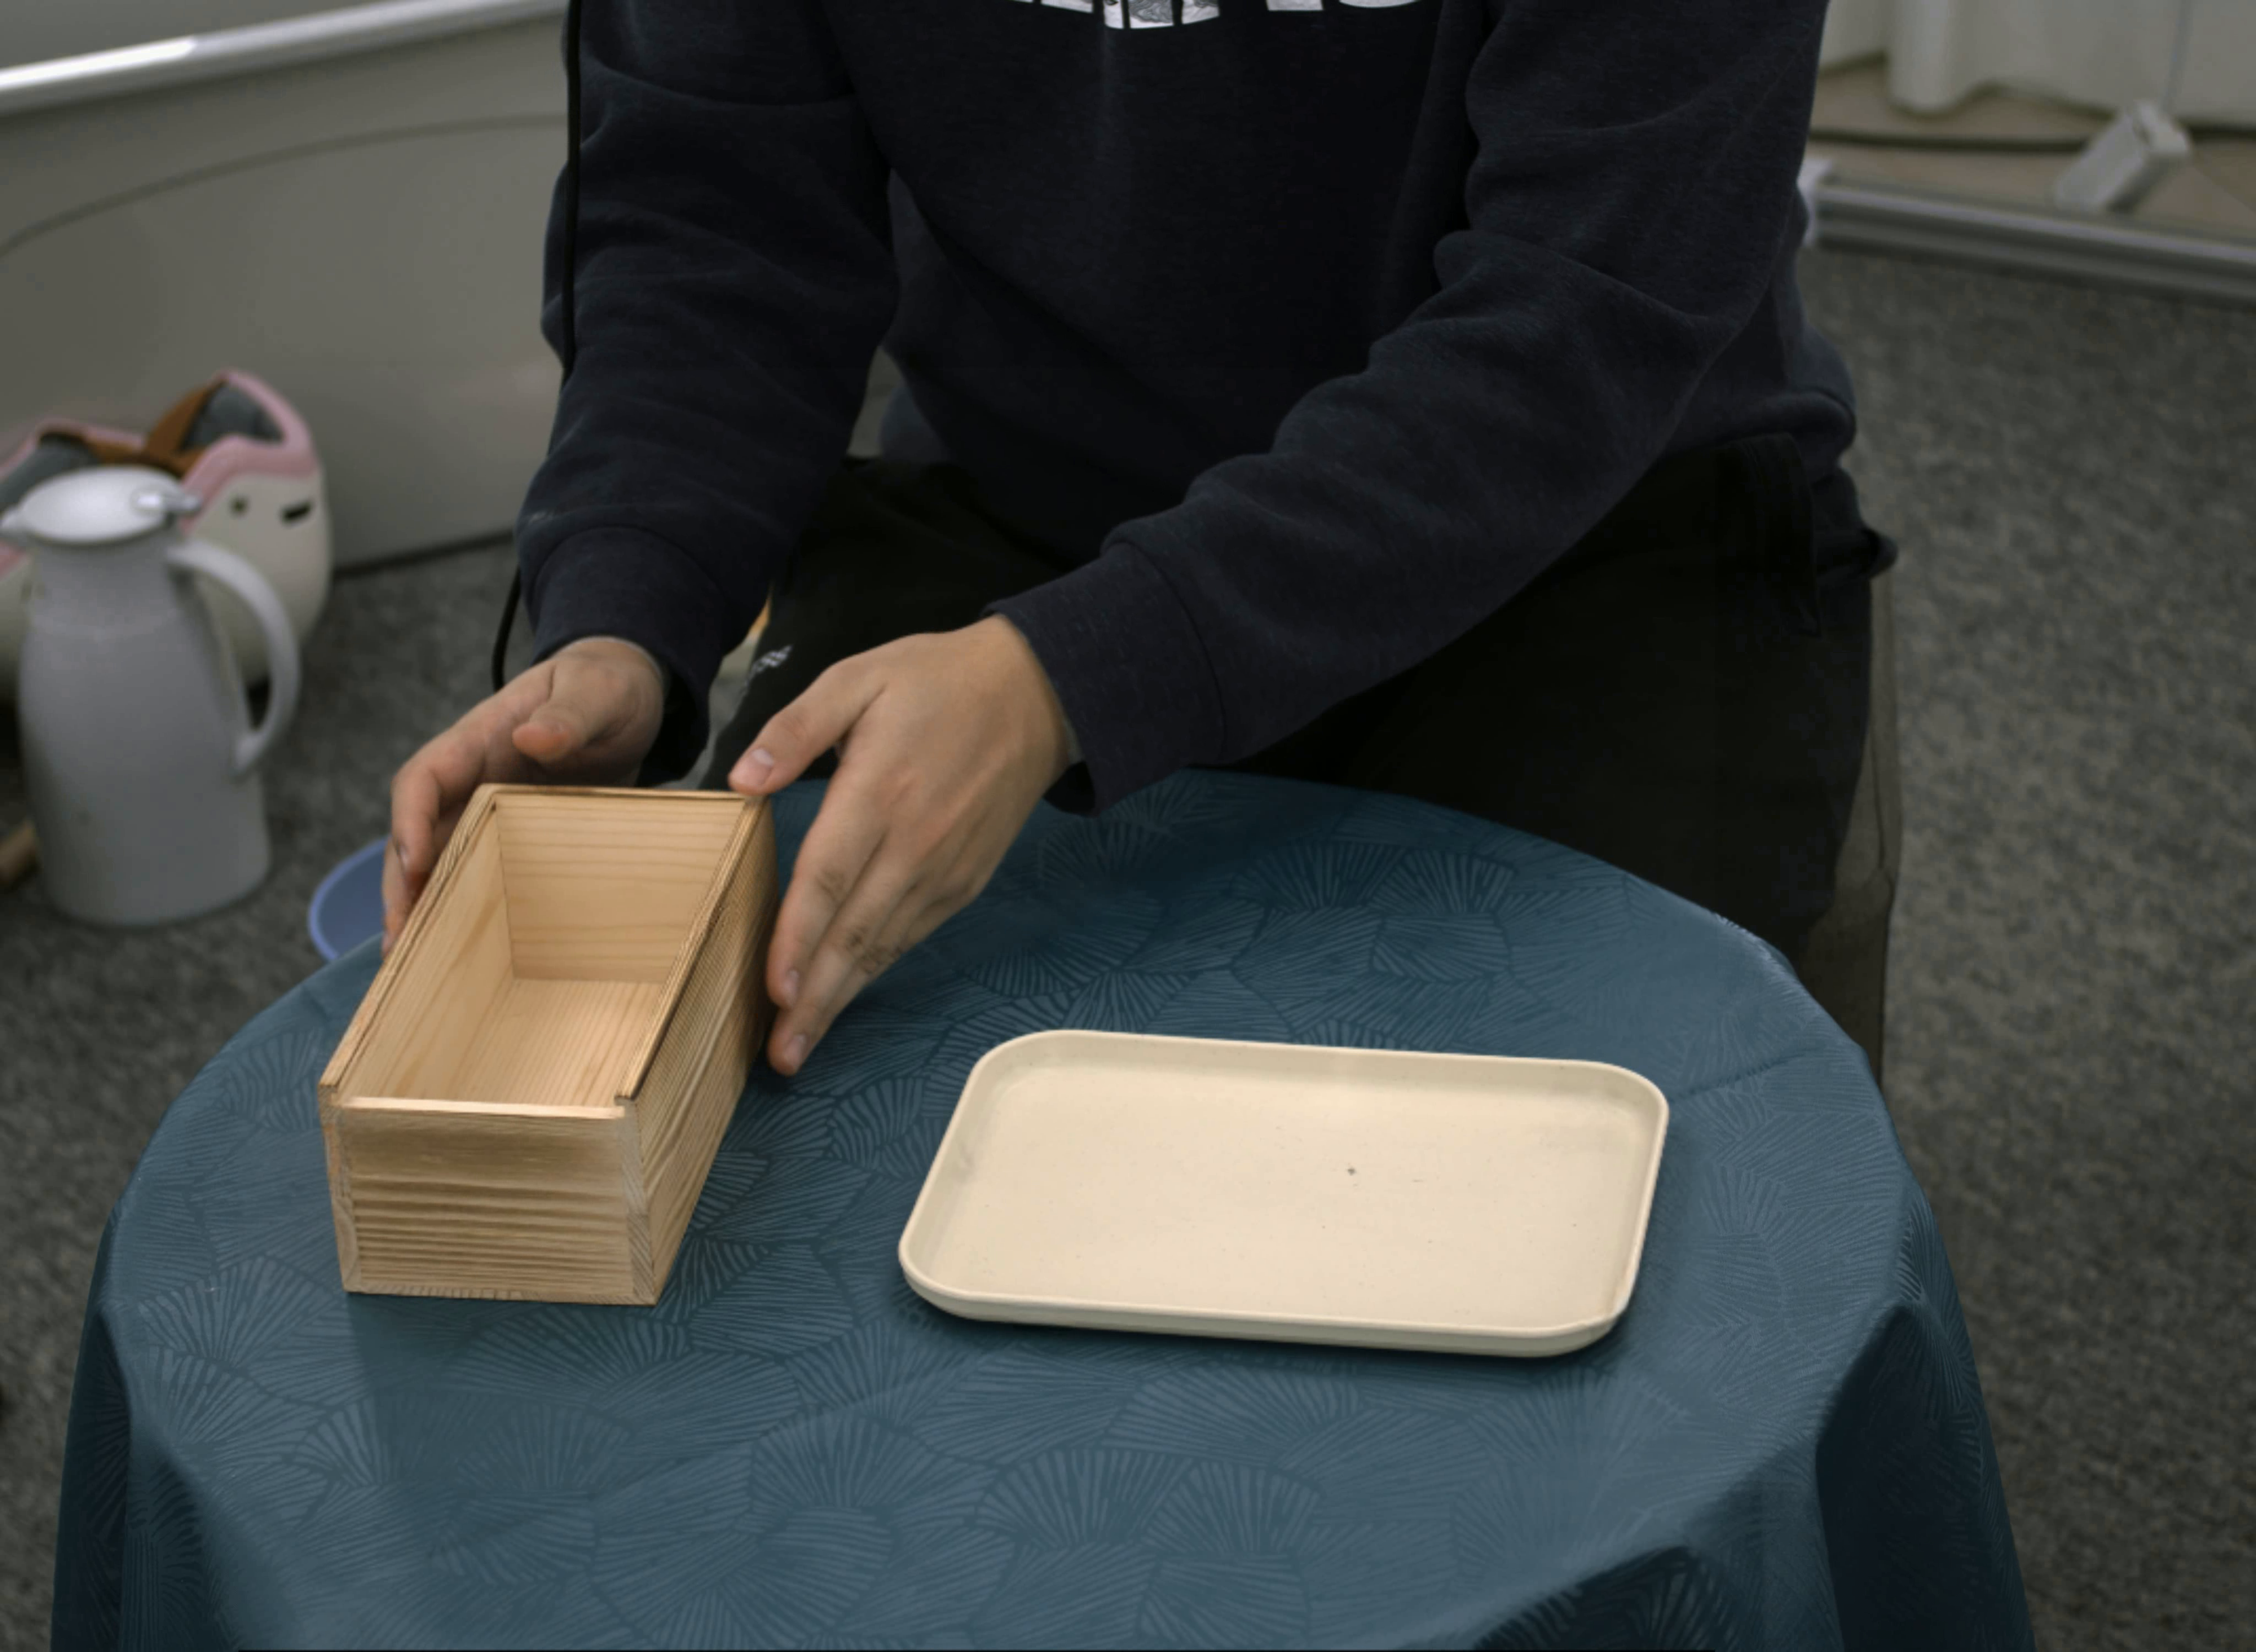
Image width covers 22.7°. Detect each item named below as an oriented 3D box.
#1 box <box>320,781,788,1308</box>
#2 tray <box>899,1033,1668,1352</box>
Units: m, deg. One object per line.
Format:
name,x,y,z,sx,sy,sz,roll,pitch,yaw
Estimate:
box,-0.189,0.070,1.895,0.107,0.079,0.215,2,28,8
tray,0.053,0.121,1.843,0.238,0.017,0.174,3,27,10
